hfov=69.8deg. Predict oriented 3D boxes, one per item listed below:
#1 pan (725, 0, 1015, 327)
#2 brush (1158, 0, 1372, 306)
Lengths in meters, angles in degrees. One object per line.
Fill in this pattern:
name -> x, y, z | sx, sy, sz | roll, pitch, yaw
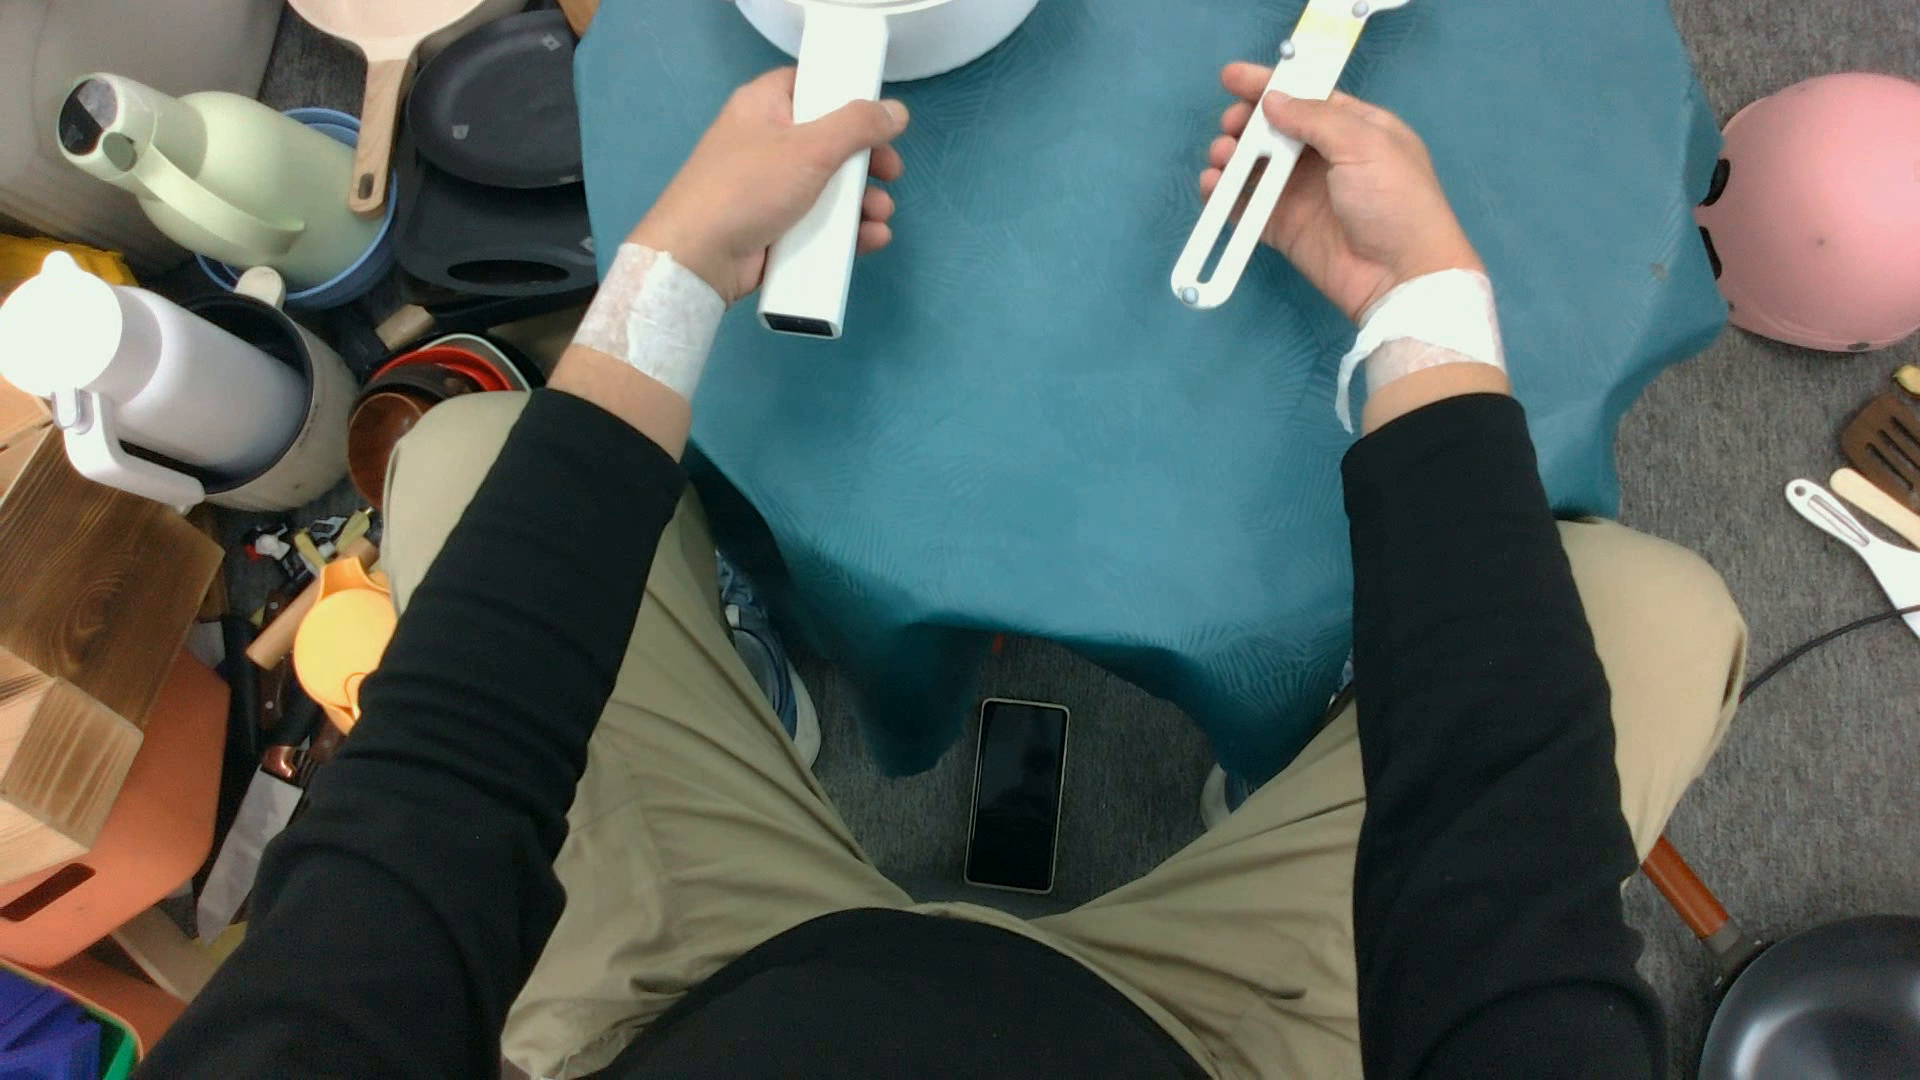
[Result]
pan -> -0.060, -0.274, 0.710 | 0.201, 0.102, 0.355 | 8, 81, 2
brush -> 0.163, -0.232, 0.682 | 0.068, 0.056, 0.267 | 22, 69, 21
